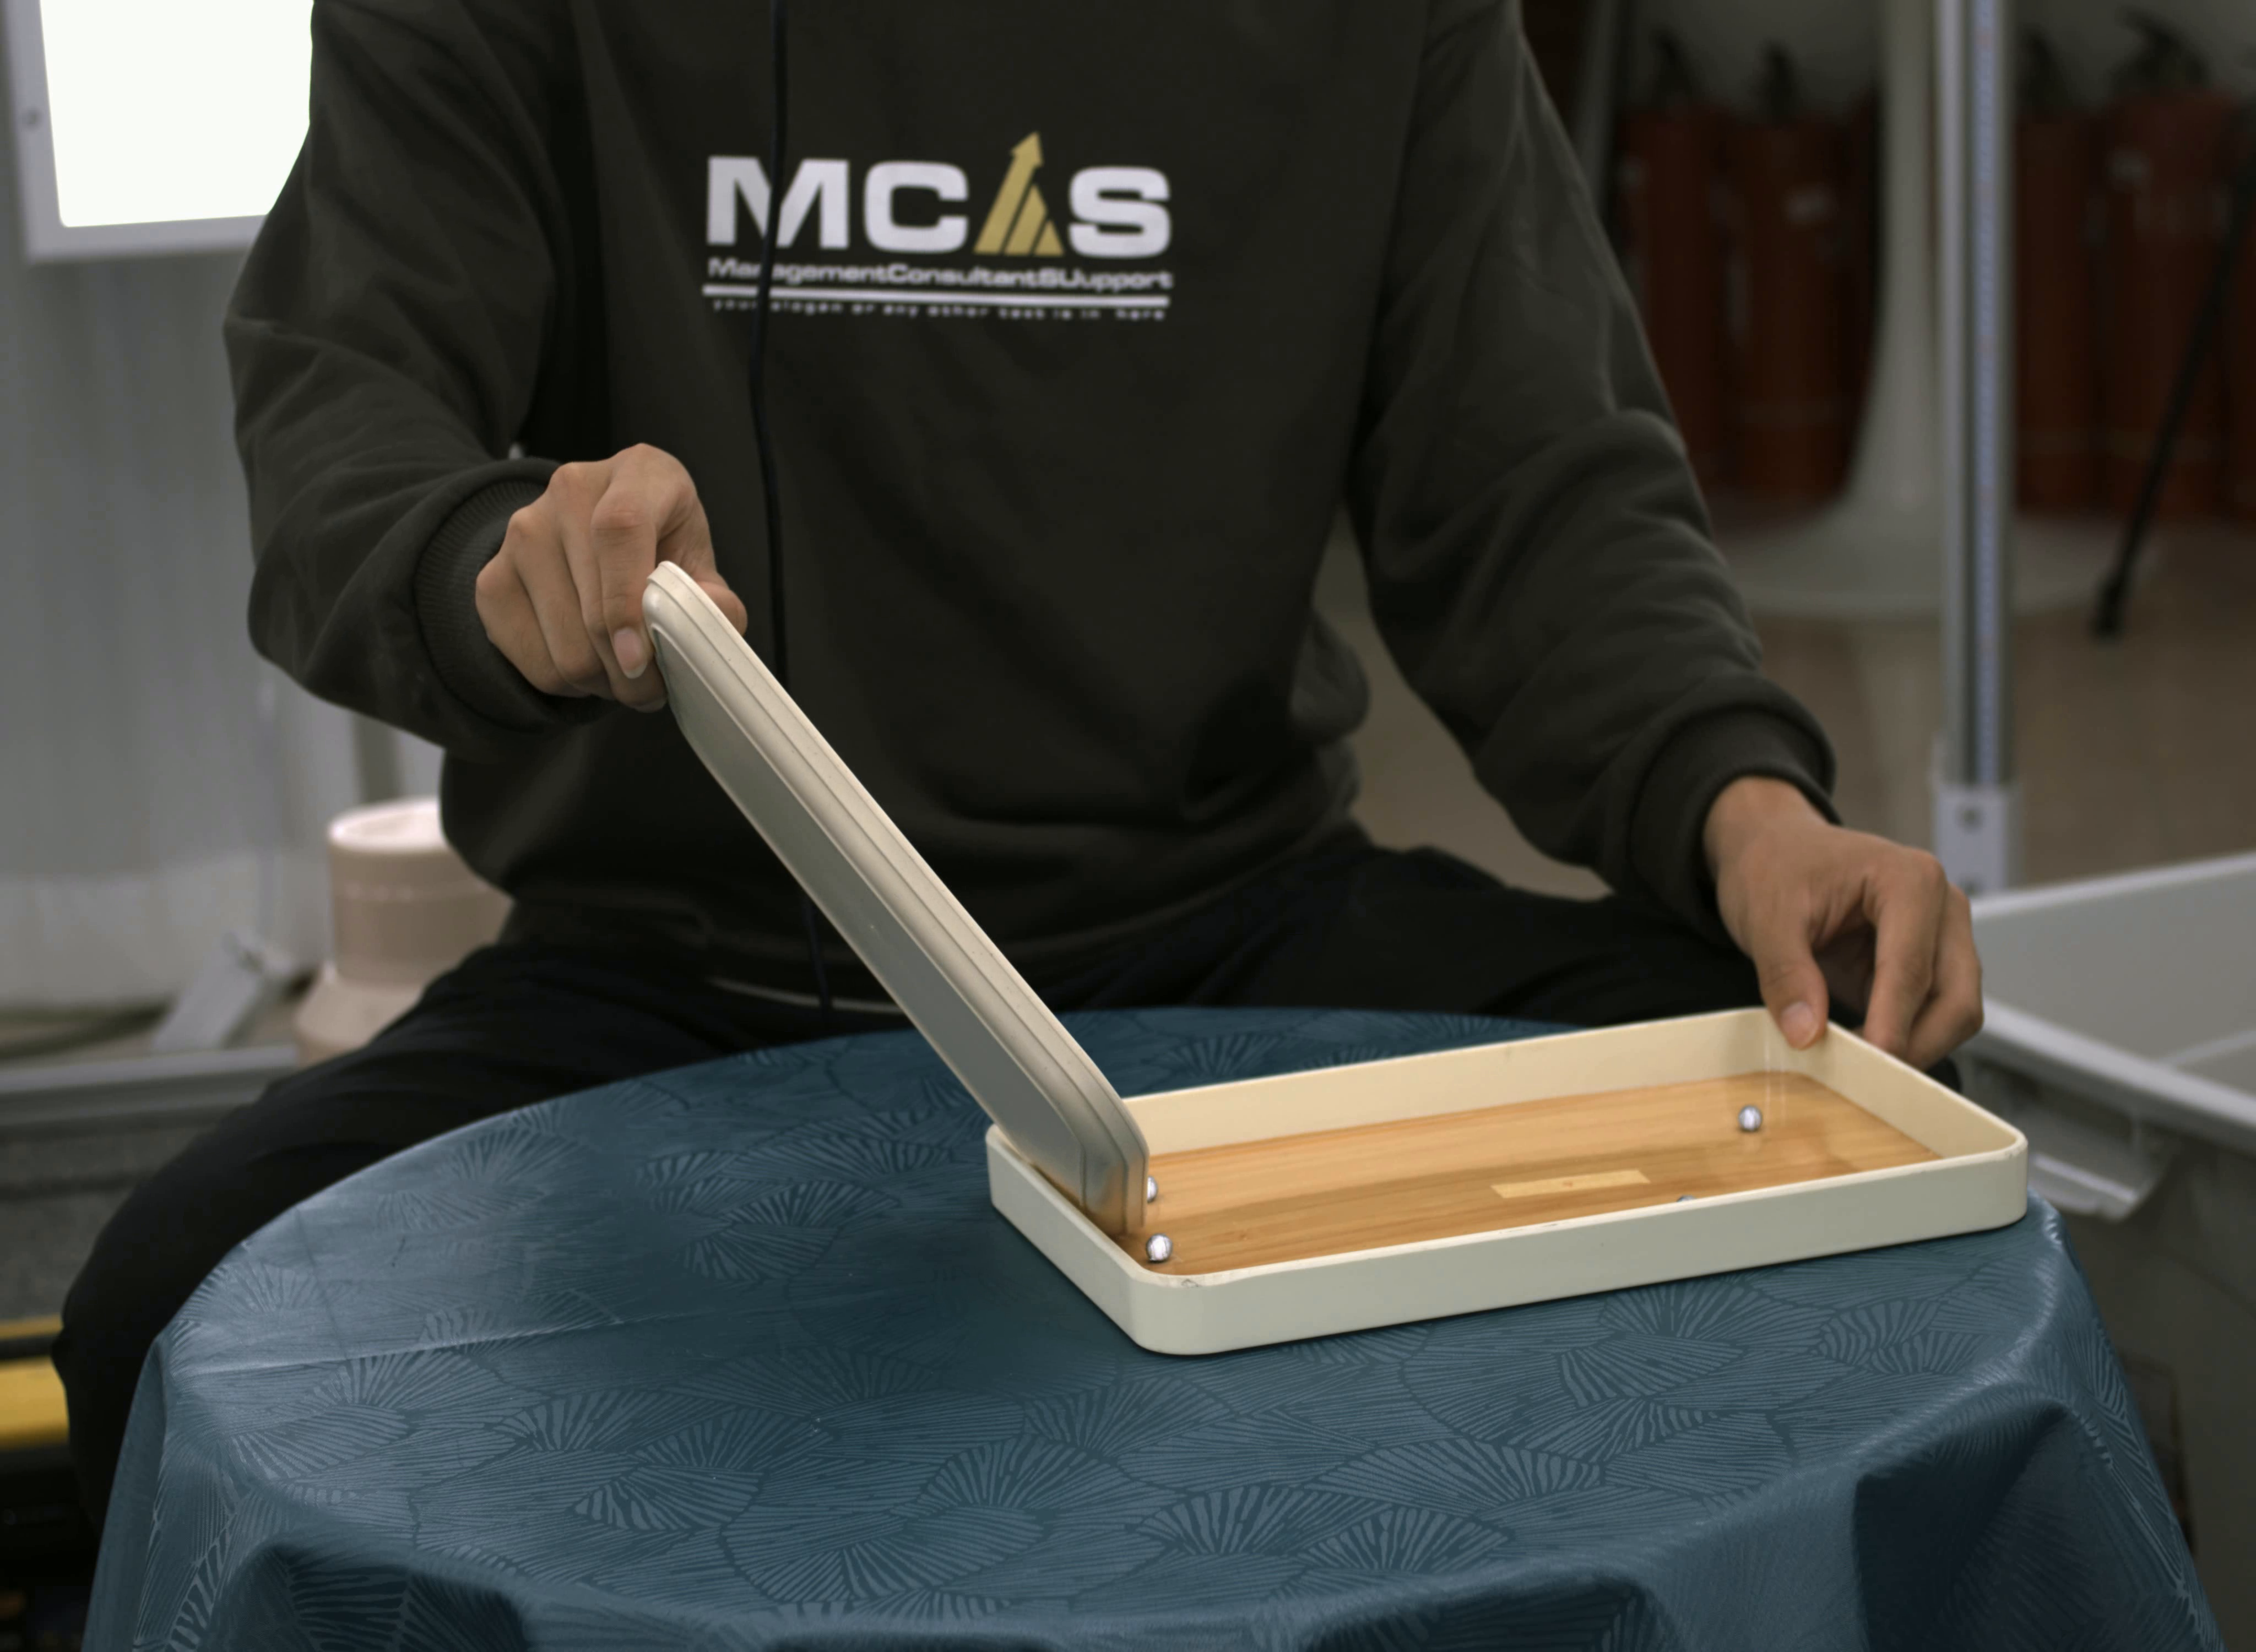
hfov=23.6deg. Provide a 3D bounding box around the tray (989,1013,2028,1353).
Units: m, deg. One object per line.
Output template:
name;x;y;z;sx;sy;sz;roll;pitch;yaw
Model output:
tray;0.119;0.112;1.729;0.294;0.028;0.193;-7;13;-16

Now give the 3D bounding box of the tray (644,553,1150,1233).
tray;-0.073;0.027;1.678;0.017;0.241;0.171;-37;-13;-9
